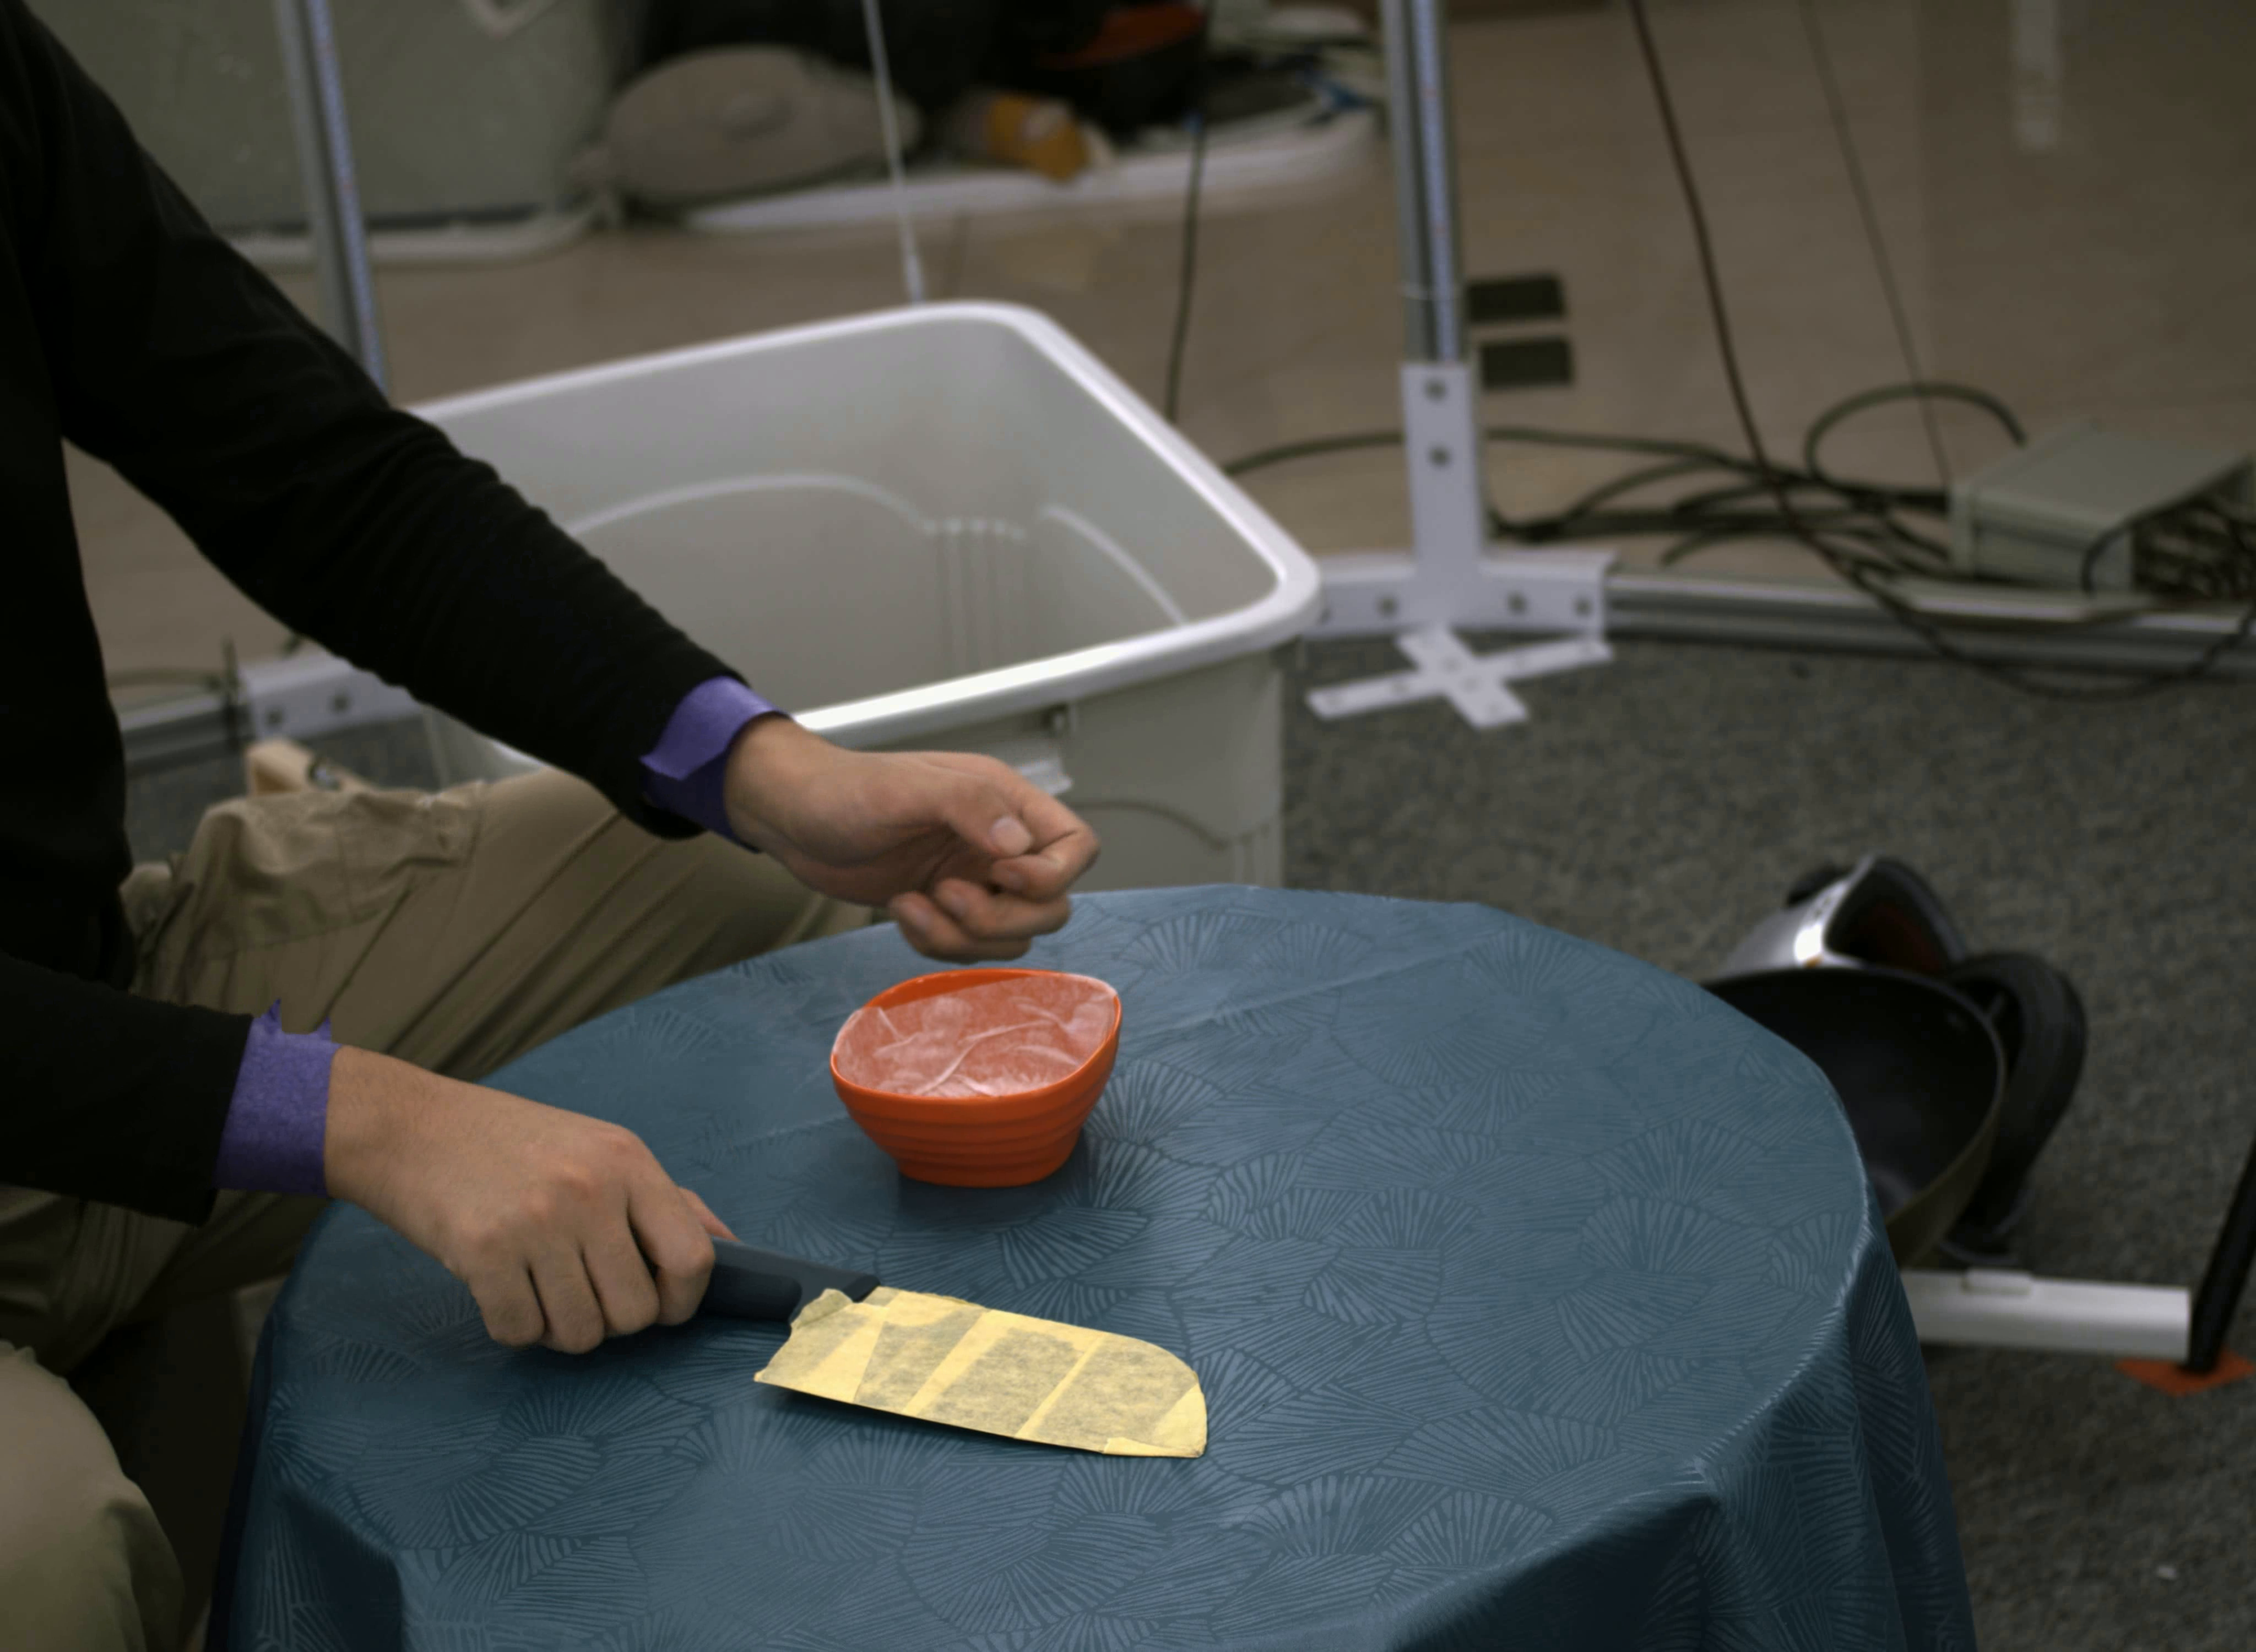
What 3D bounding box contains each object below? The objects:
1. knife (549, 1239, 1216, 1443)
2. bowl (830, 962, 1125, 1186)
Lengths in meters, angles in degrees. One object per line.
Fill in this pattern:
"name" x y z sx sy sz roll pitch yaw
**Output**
"knife" -0.096 0.187 2.054 0.288 0.027 0.080 9 28 28
"bowl" -0.055 0.100 2.184 0.119 0.052 0.117 -4 27 2
